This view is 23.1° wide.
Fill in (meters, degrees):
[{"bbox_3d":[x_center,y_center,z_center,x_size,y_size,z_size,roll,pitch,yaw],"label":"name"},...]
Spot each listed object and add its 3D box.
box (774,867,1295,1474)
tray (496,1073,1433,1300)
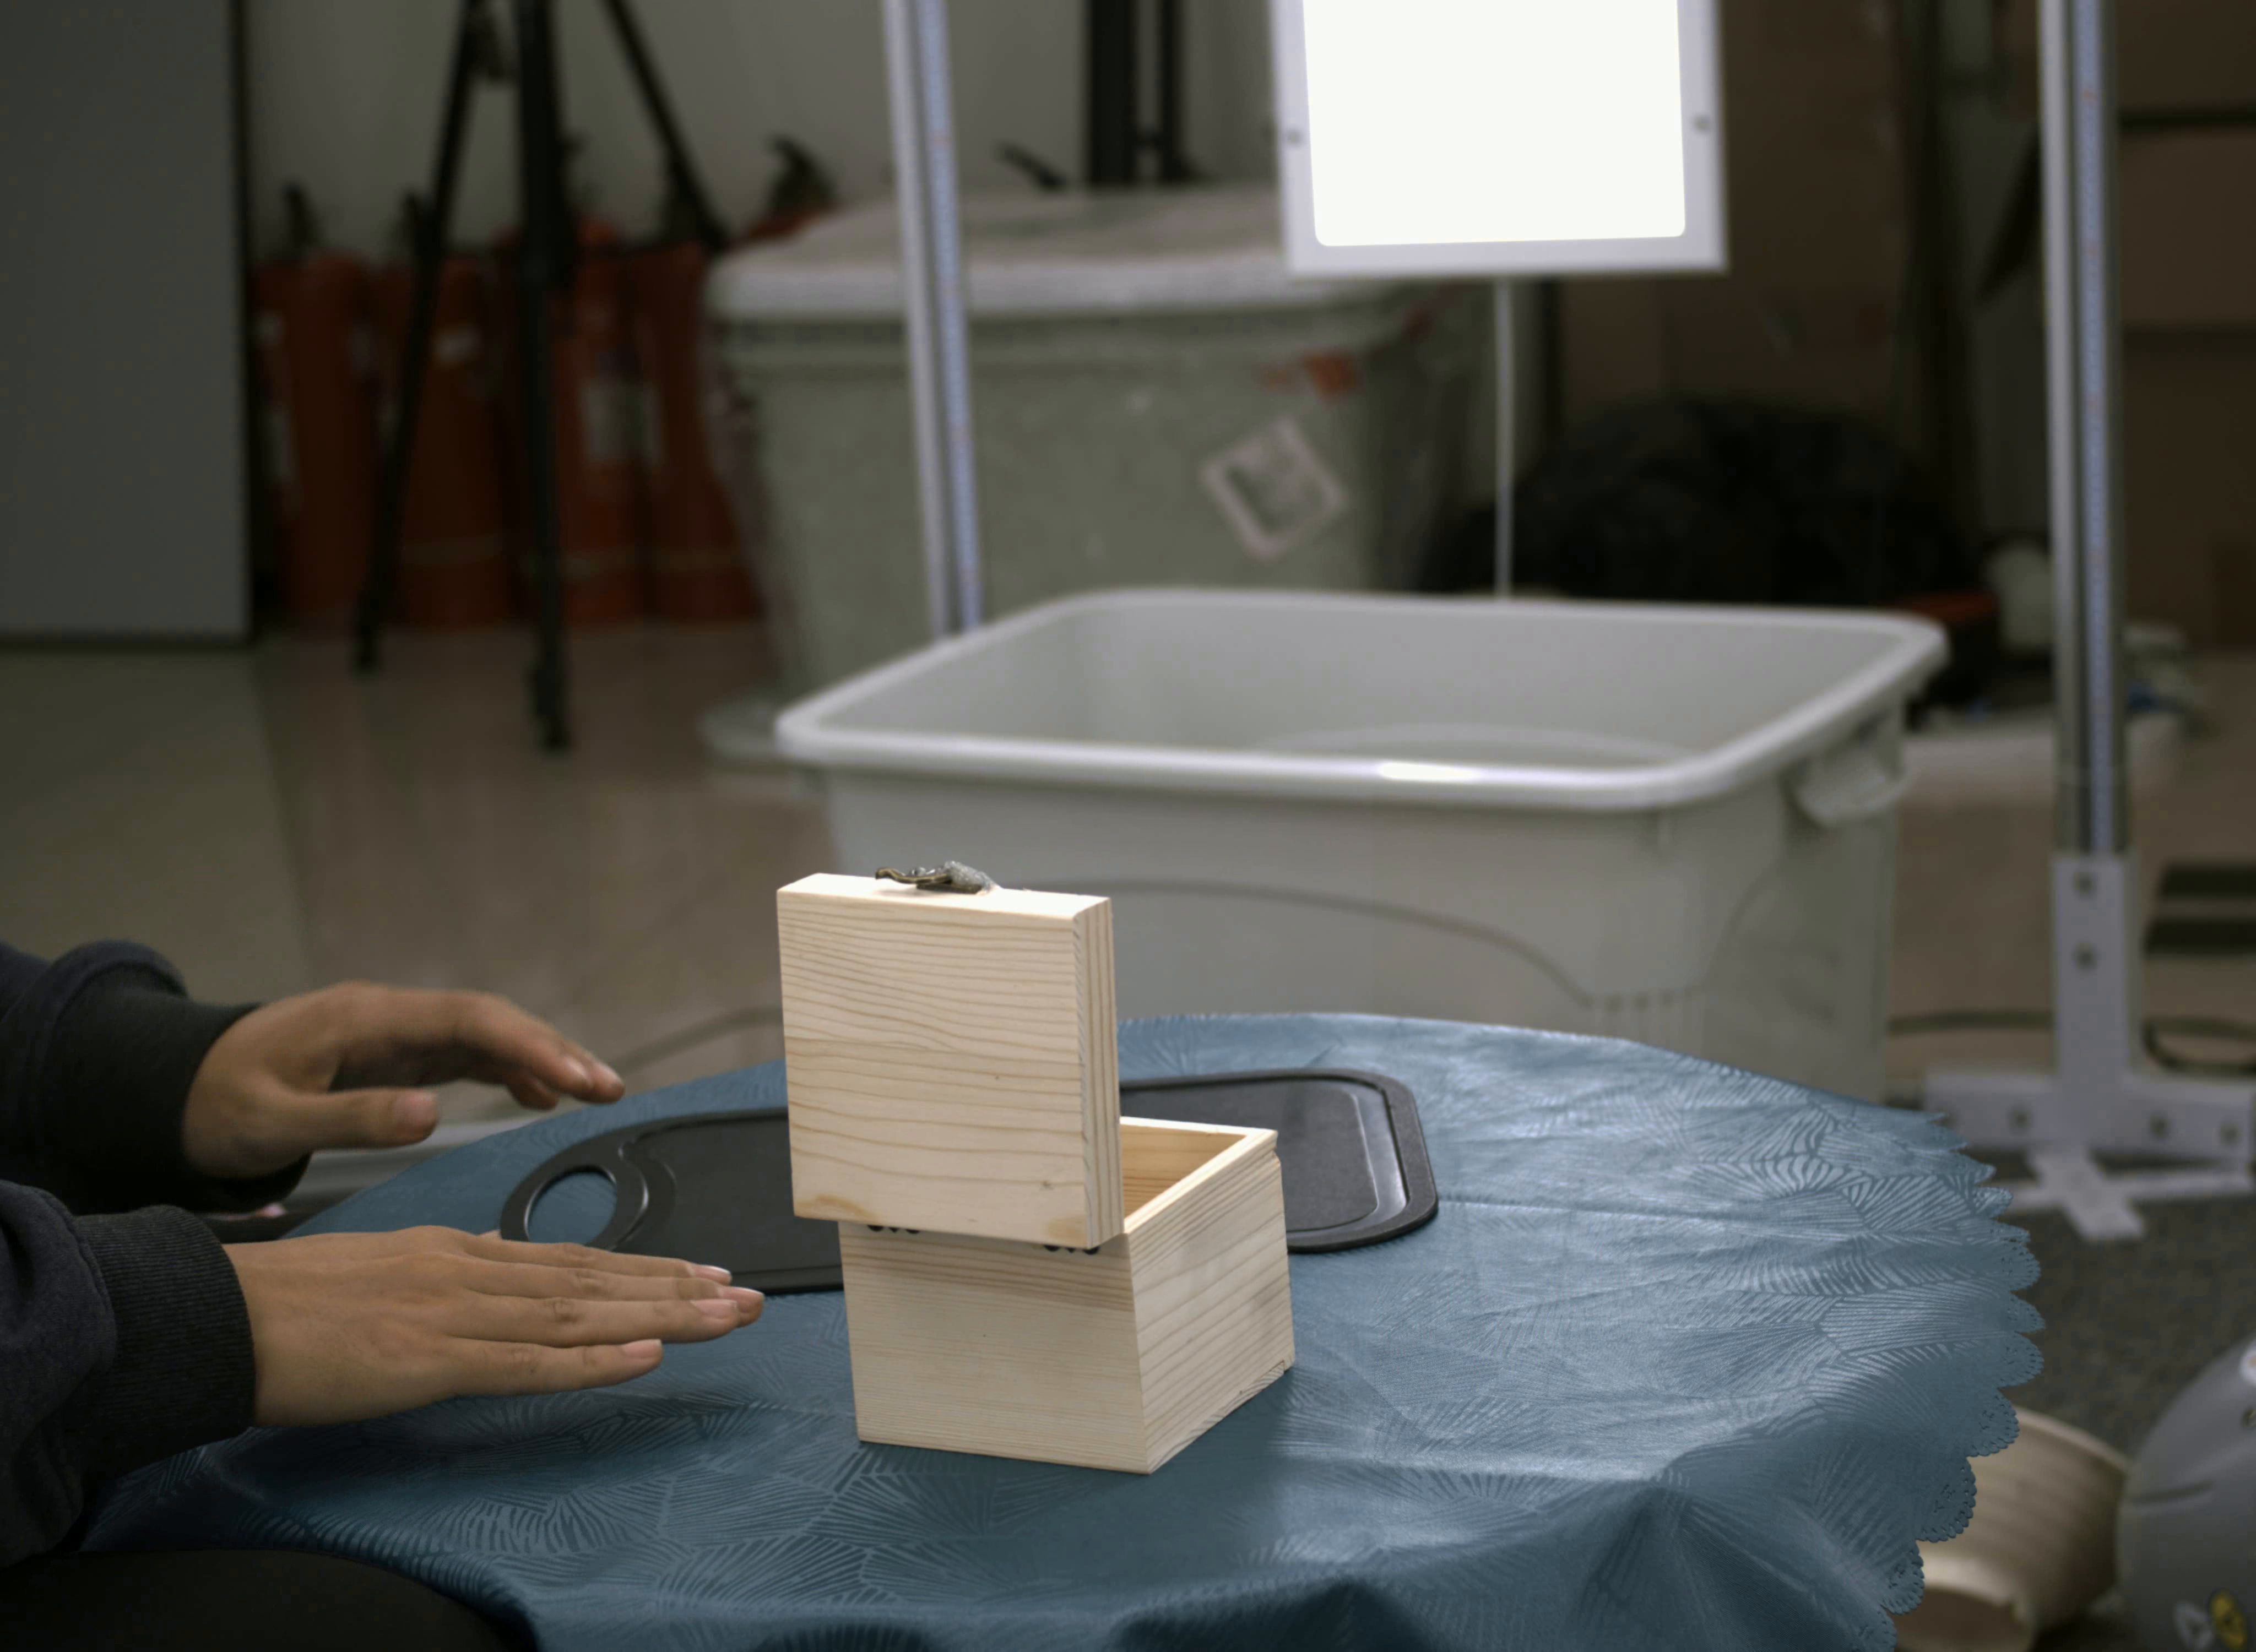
[{"bbox_3d":[-0.025,0.091,1.662,0.104,0.185,0.131,4,17,29],"label":"box"},{"bbox_3d":[-0.058,0.123,1.919,0.325,0.010,0.210,-4,13,3],"label":"tray"}]
